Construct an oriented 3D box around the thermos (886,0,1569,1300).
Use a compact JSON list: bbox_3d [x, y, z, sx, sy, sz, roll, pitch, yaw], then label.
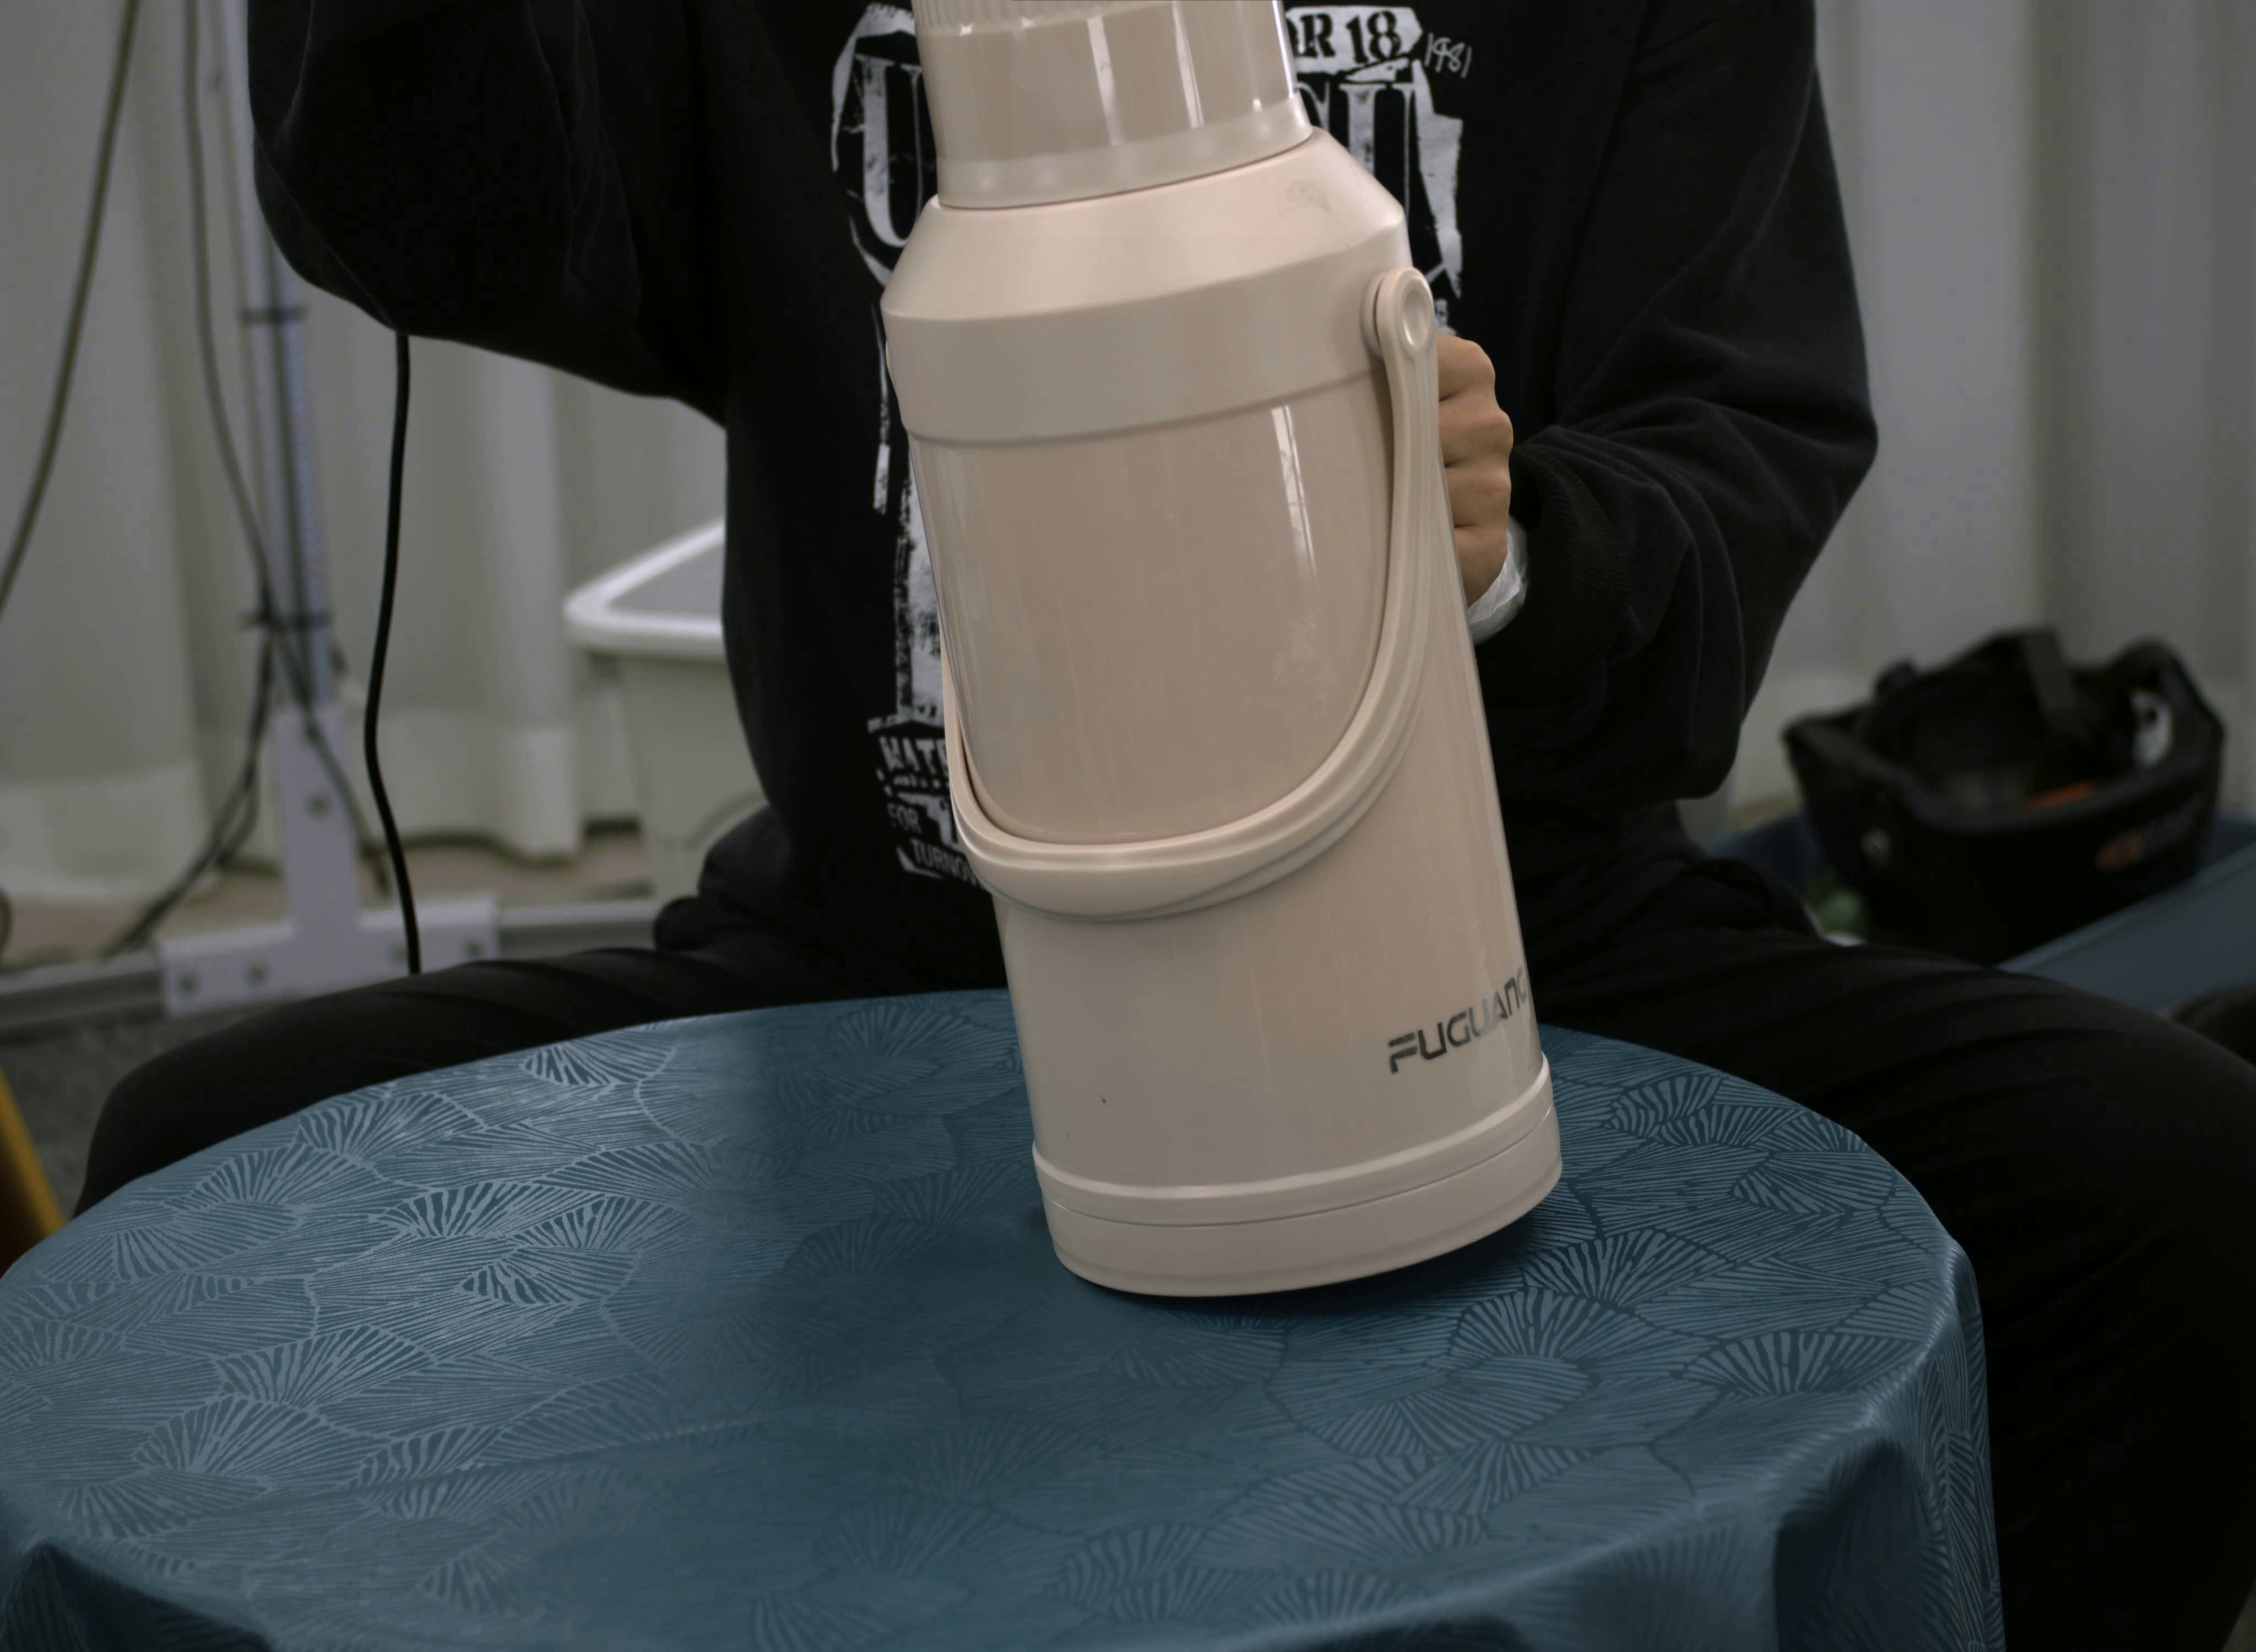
[{"bbox_3d":[0.031,-0.078,1.634,0.175,0.405,0.207,-4,14,32],"label":"thermos"}]
